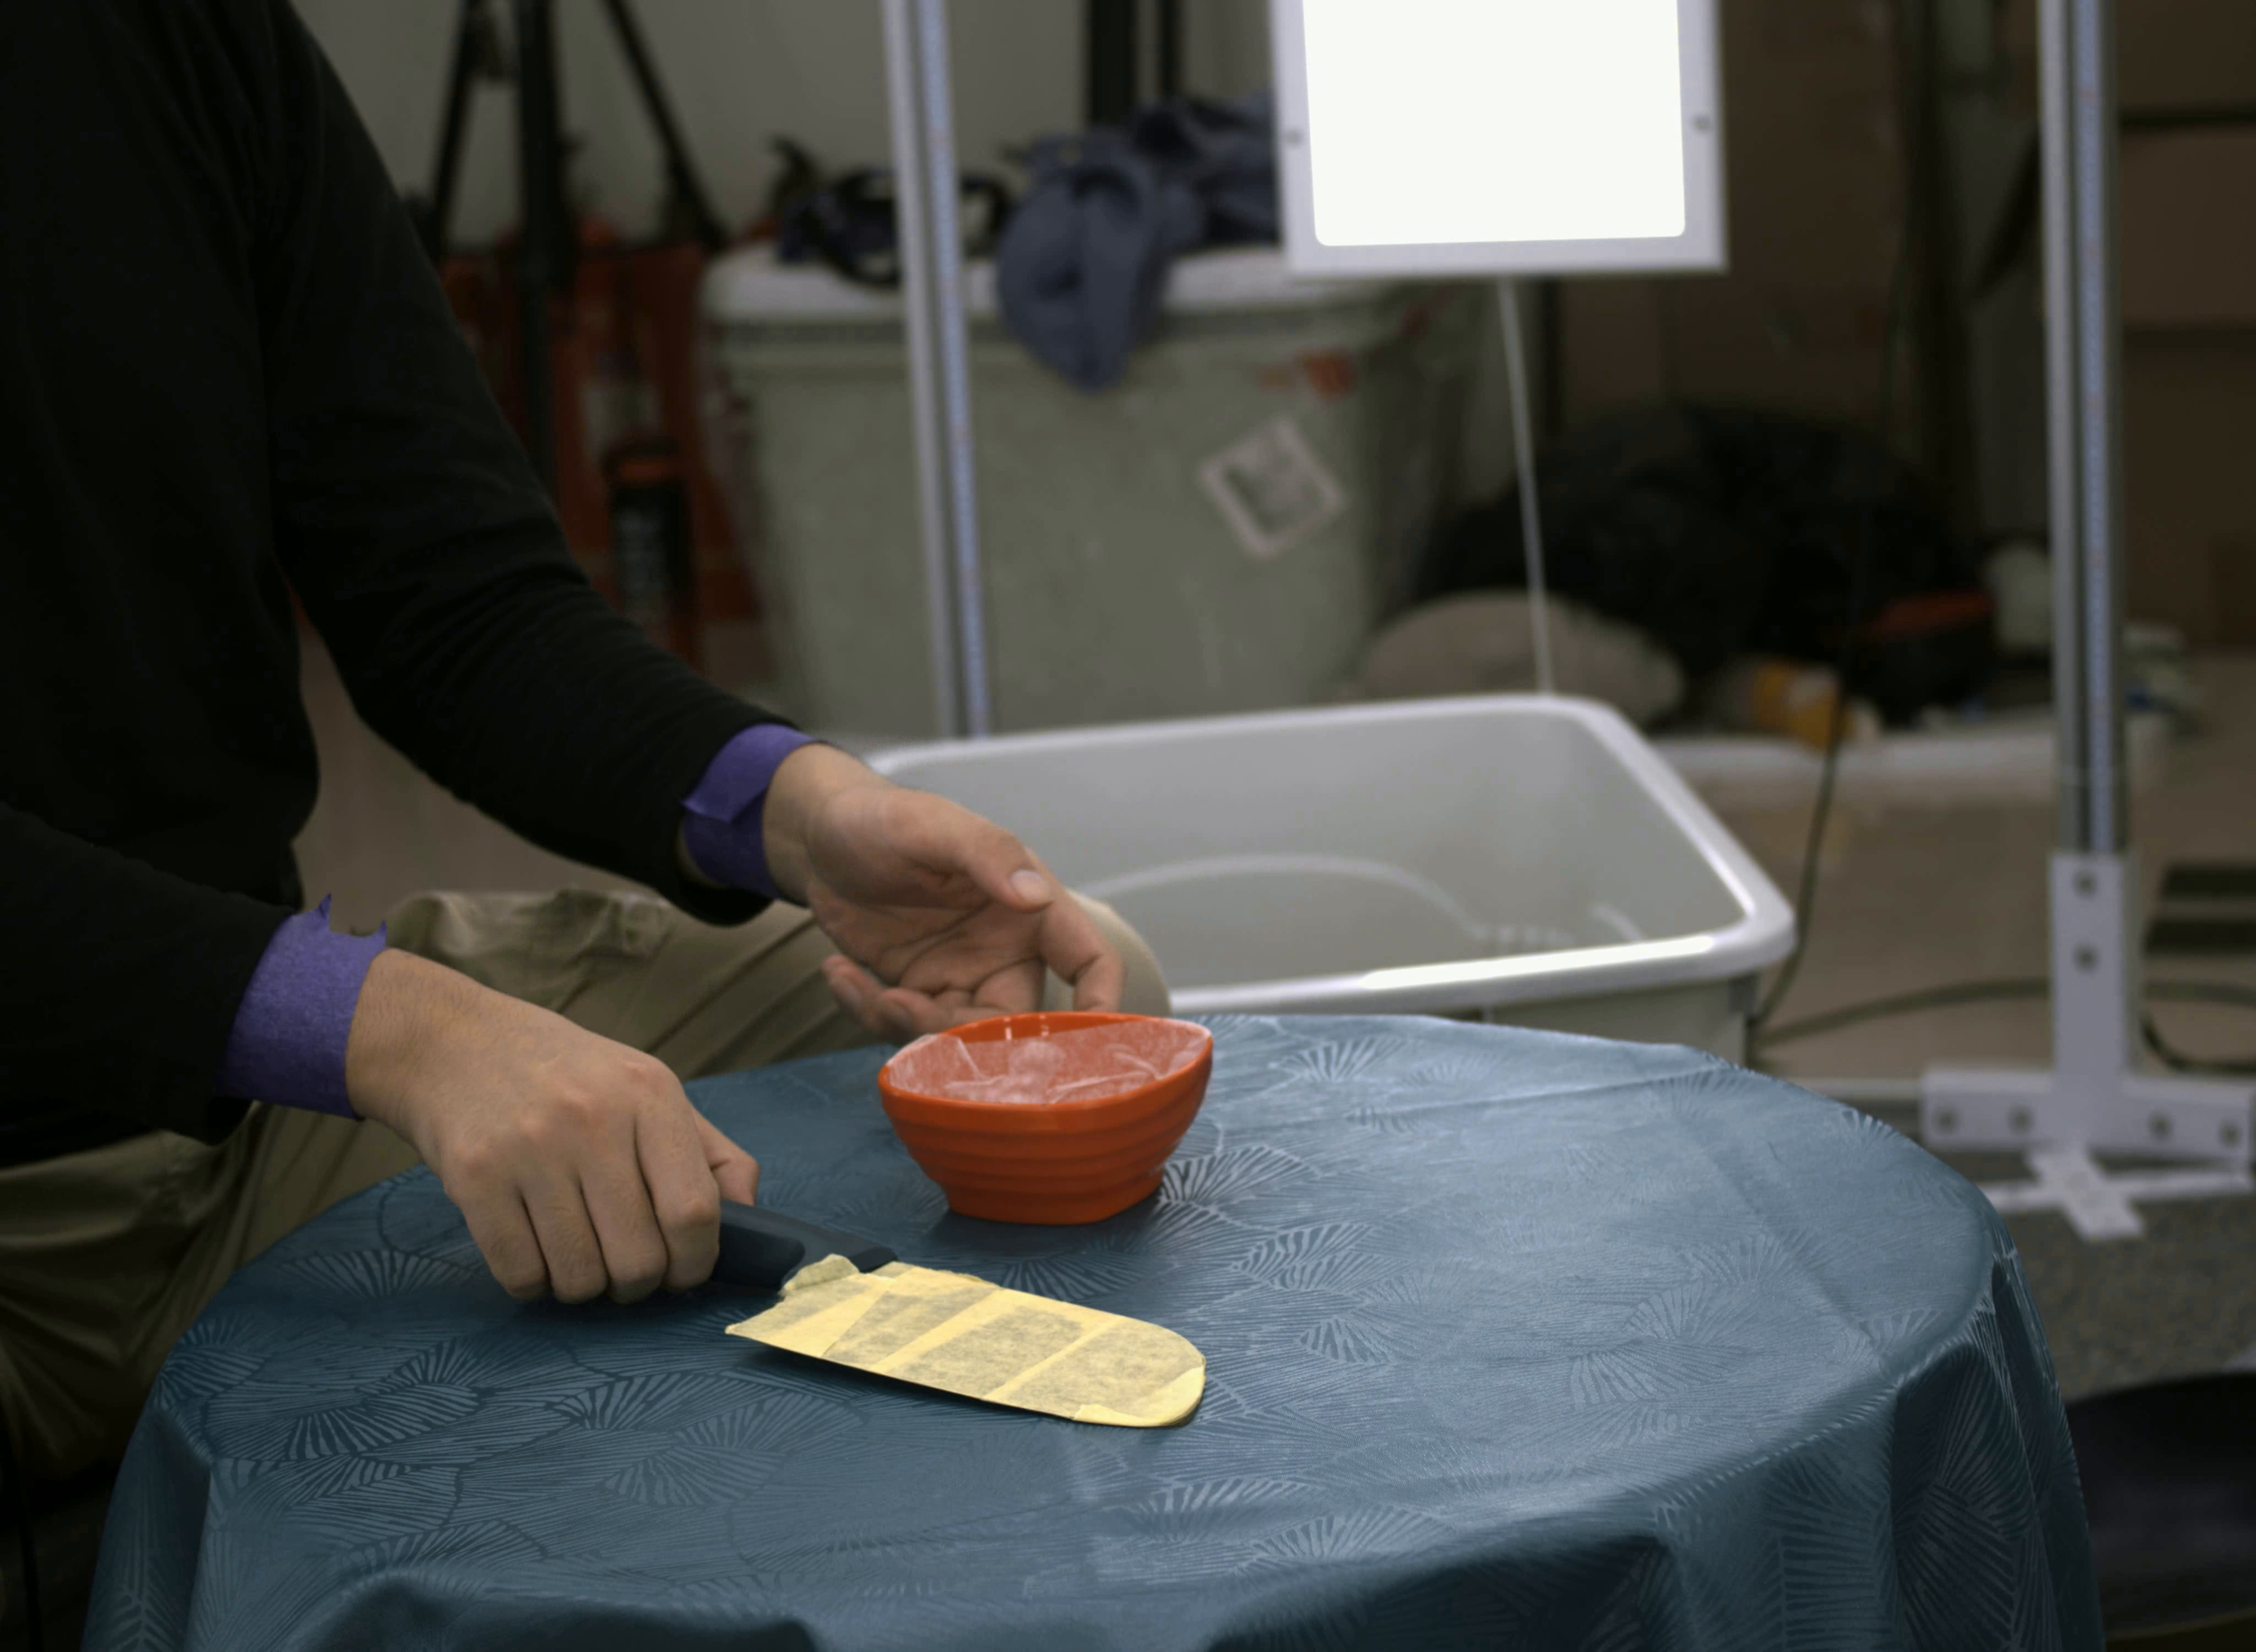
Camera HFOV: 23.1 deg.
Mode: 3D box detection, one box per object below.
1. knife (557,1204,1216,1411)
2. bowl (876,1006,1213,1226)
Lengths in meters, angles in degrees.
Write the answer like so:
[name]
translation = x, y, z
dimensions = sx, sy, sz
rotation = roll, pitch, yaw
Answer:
[knife]
translation = -0.087, 0.157, 1.775
dimensions = 0.296, 0.027, 0.079
rotation = 9, 19, 41
[bowl]
translation = -0.027, 0.102, 1.899
dimensions = 0.118, 0.051, 0.119
rotation = -5, 16, 0
